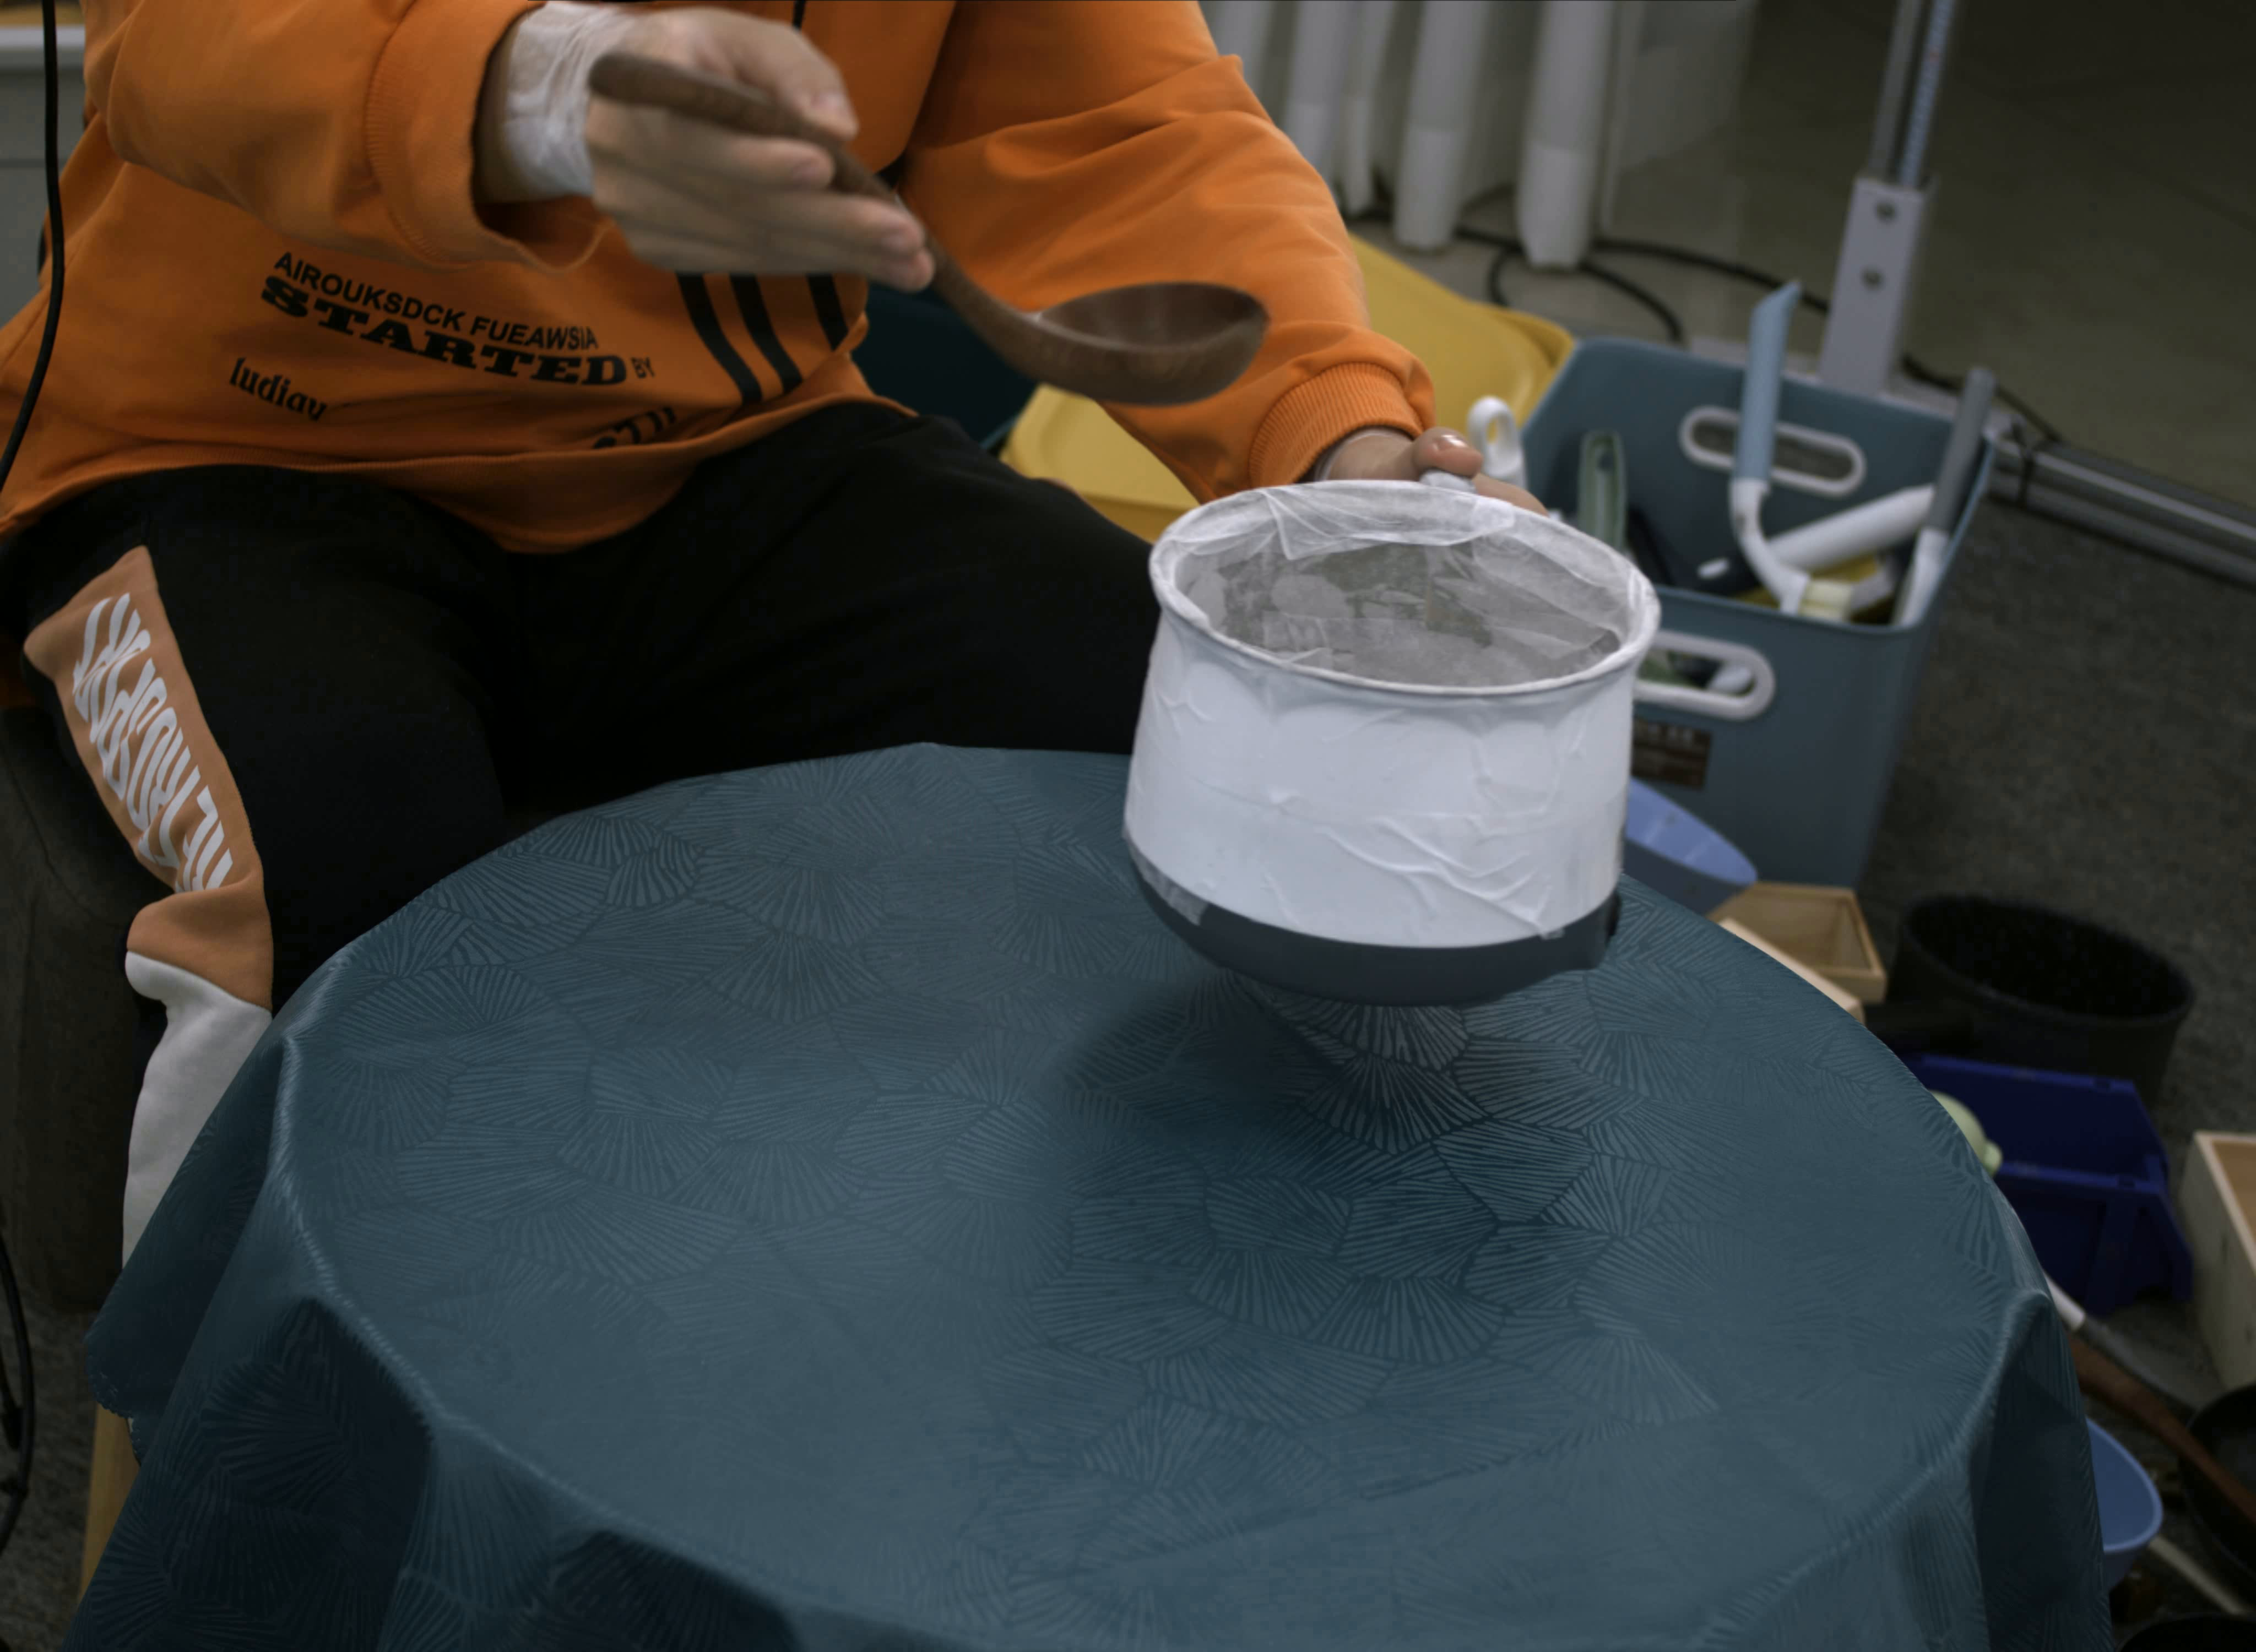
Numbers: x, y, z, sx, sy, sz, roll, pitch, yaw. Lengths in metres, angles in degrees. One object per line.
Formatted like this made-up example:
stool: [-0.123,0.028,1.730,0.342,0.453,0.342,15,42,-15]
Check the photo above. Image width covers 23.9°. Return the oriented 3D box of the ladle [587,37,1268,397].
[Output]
ladle: [-0.060,-0.203,1.686,0.258,0.065,0.077,31,-7,-35]

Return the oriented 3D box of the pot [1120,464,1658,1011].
pot: [0.093,-0.039,1.881,0.178,0.136,0.234,10,26,7]
